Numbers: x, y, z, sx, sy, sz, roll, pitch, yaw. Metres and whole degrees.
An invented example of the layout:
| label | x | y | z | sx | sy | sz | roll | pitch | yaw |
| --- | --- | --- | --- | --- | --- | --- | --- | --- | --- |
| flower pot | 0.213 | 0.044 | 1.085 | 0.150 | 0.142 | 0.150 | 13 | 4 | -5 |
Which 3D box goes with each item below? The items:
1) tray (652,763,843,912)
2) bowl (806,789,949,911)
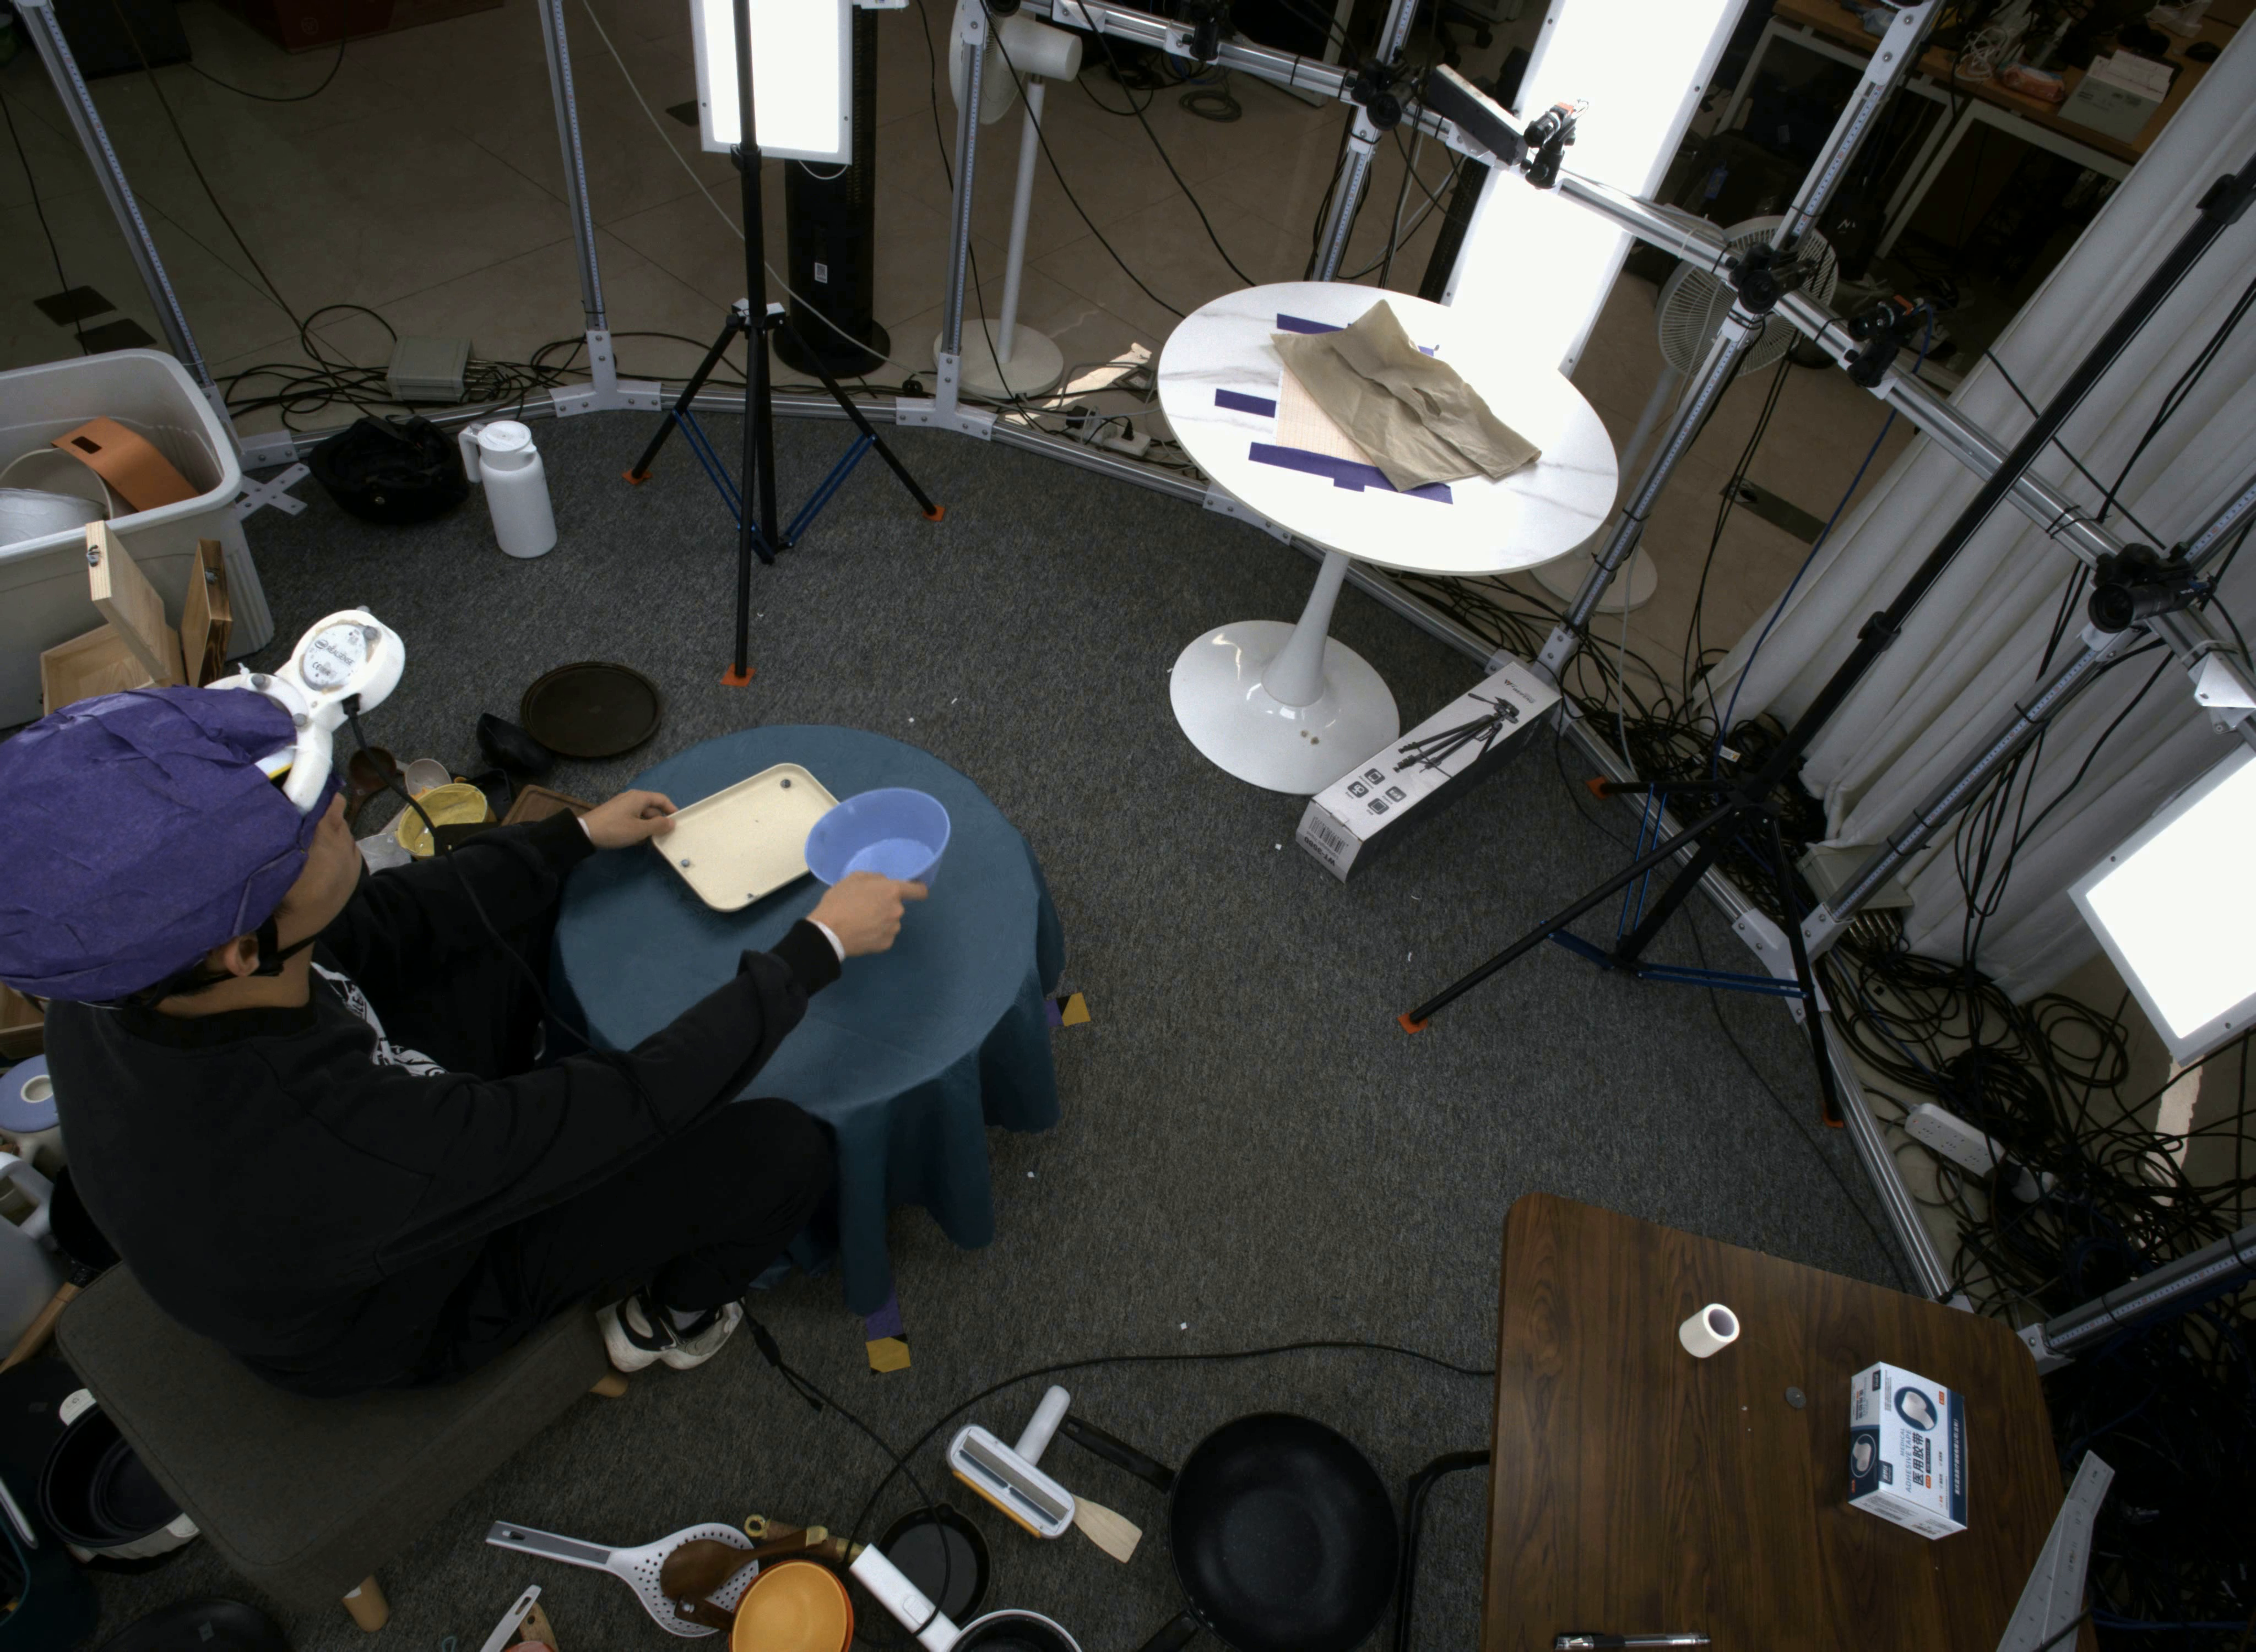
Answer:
| label | x | y | z | sx | sy | sz | roll | pitch | yaw |
| --- | --- | --- | --- | --- | --- | --- | --- | --- | --- |
| tray | -0.479 | 0.012 | 1.678 | 0.167 | 0.018 | 0.241 | 43 | 48 | 18 |
| bowl | -0.296 | 0.037 | 1.571 | 0.173 | 0.073 | 0.172 | -3 | 43 | 4 |
